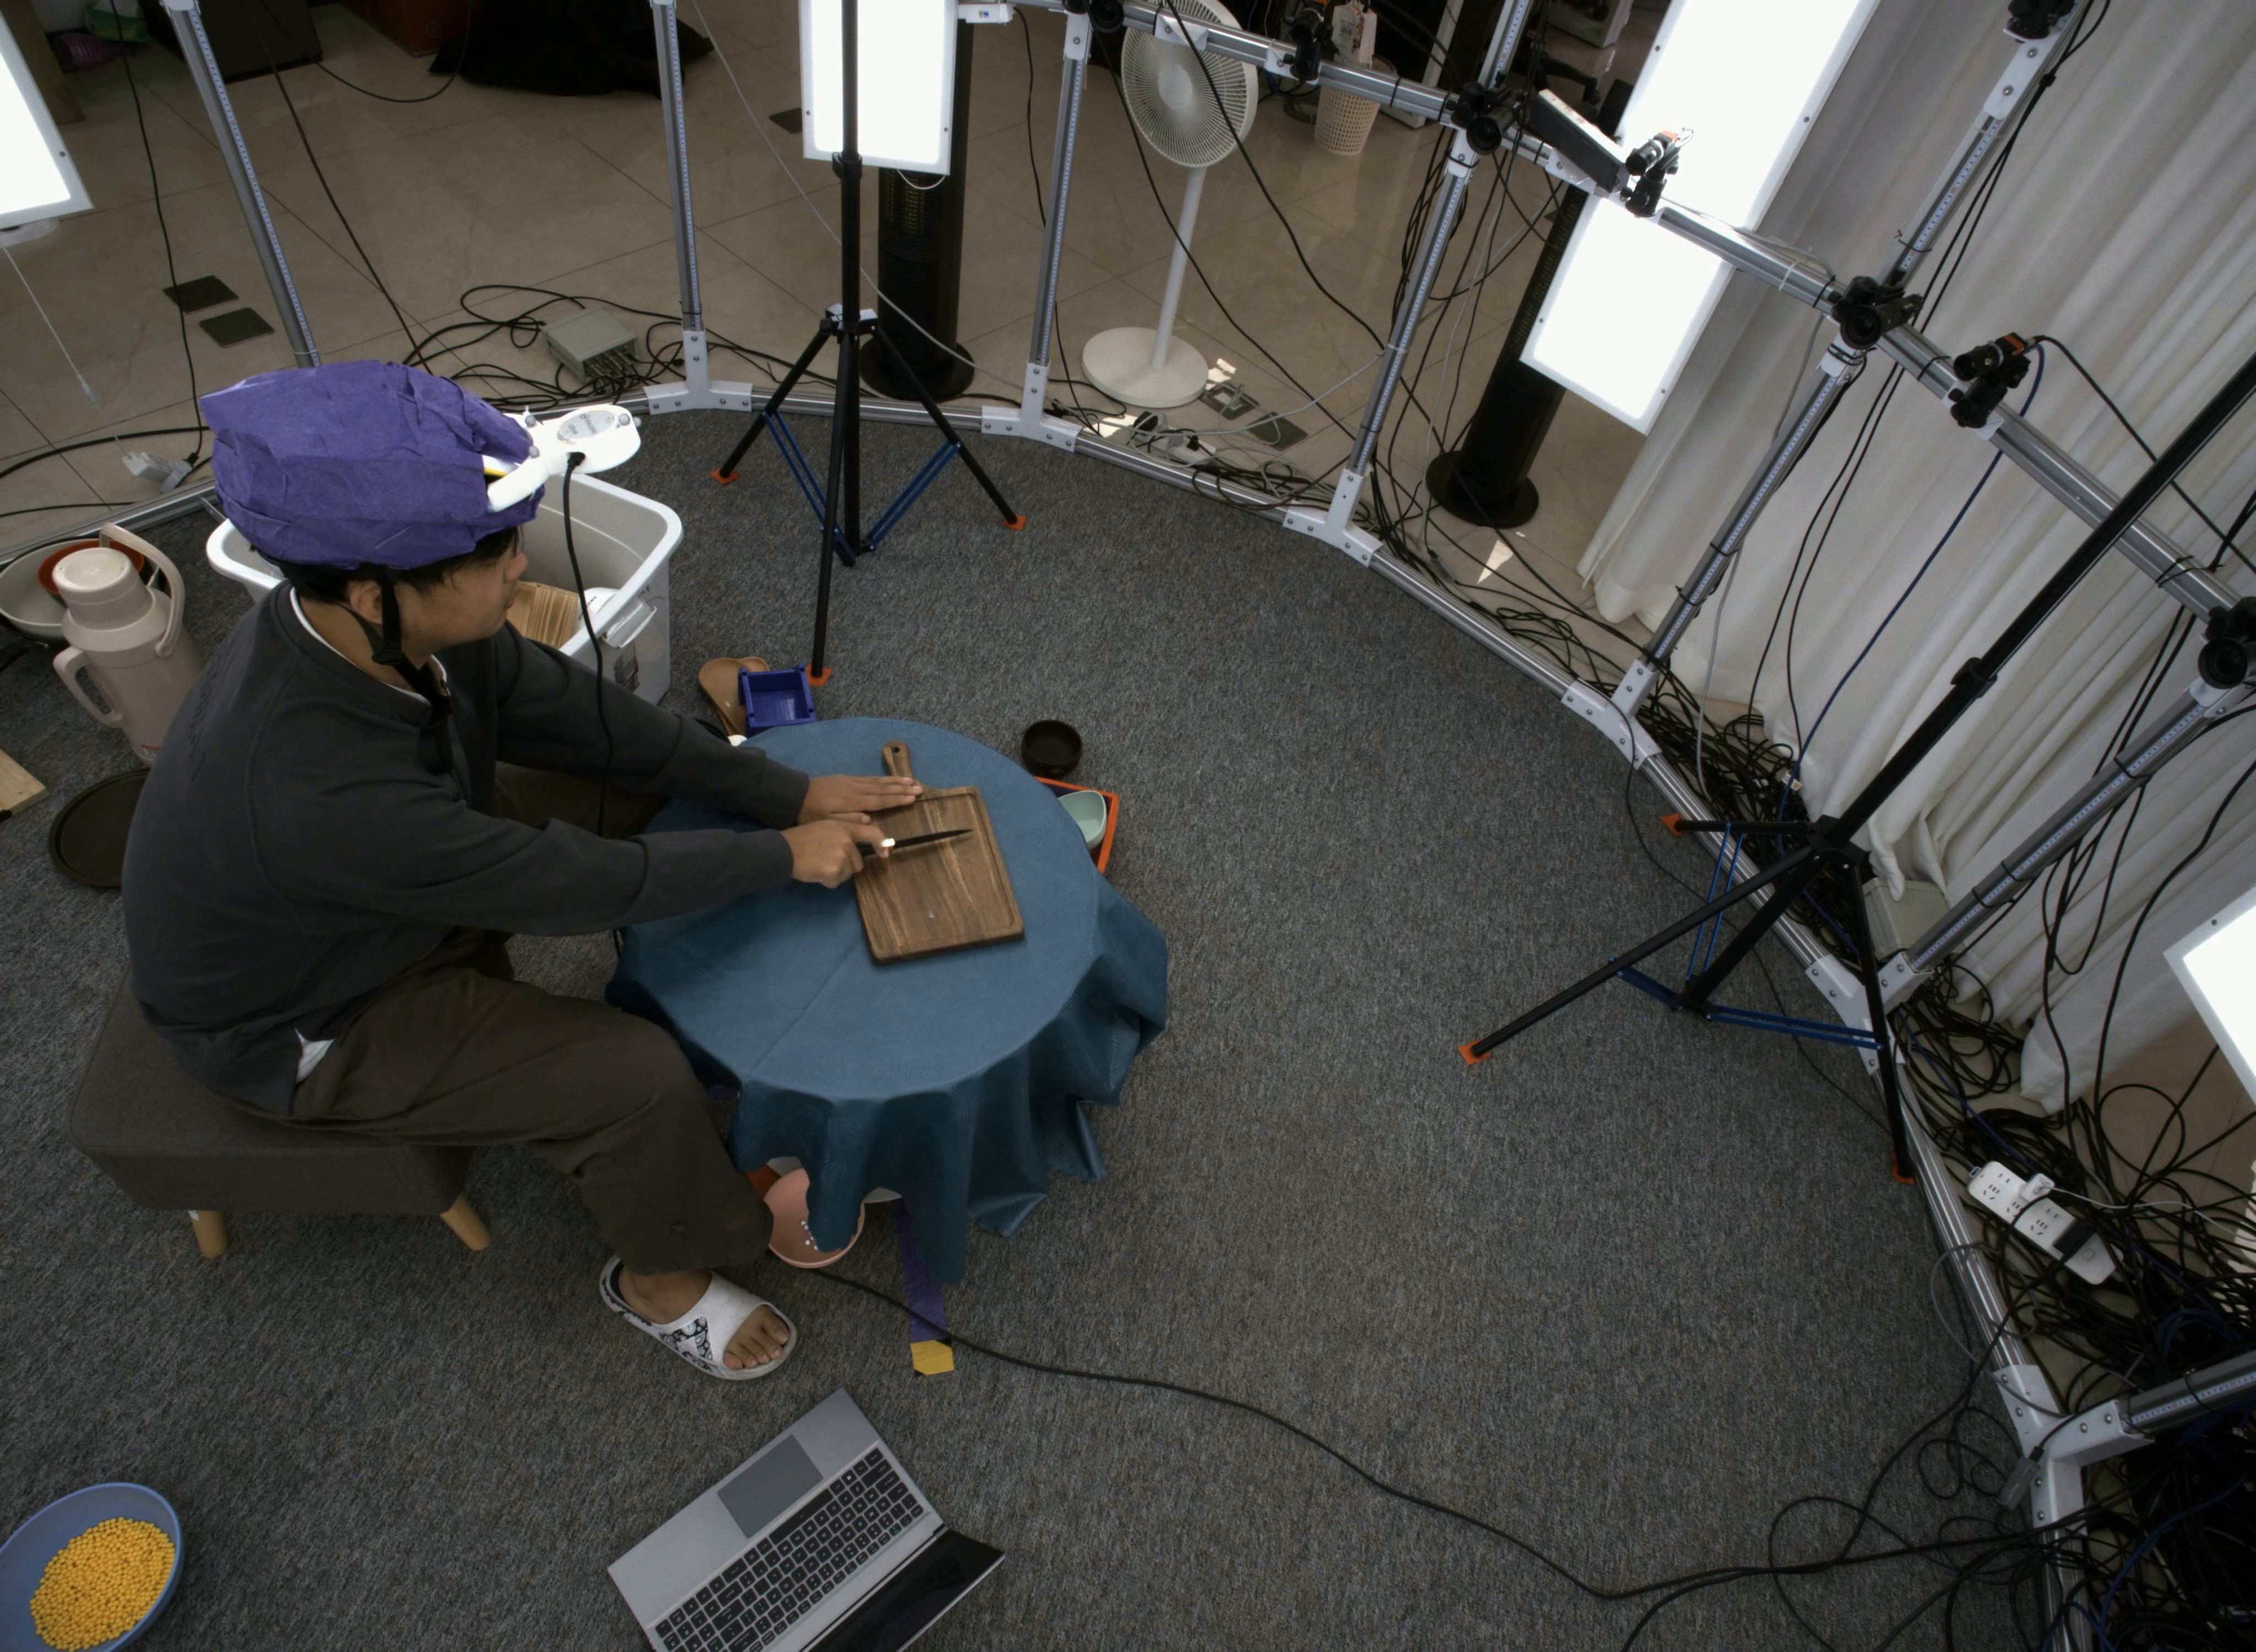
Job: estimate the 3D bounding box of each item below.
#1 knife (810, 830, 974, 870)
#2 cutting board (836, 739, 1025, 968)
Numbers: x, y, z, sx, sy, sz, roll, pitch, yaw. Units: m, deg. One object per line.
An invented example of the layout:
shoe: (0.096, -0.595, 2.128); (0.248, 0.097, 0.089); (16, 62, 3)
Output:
knife: (-0.304, 0.025, 1.696); (0.227, 0.026, 0.017); (-13, 63, -26)
cutting board: (-0.276, 0.020, 1.729); (0.202, 0.023, 0.343); (-9, 57, -20)
